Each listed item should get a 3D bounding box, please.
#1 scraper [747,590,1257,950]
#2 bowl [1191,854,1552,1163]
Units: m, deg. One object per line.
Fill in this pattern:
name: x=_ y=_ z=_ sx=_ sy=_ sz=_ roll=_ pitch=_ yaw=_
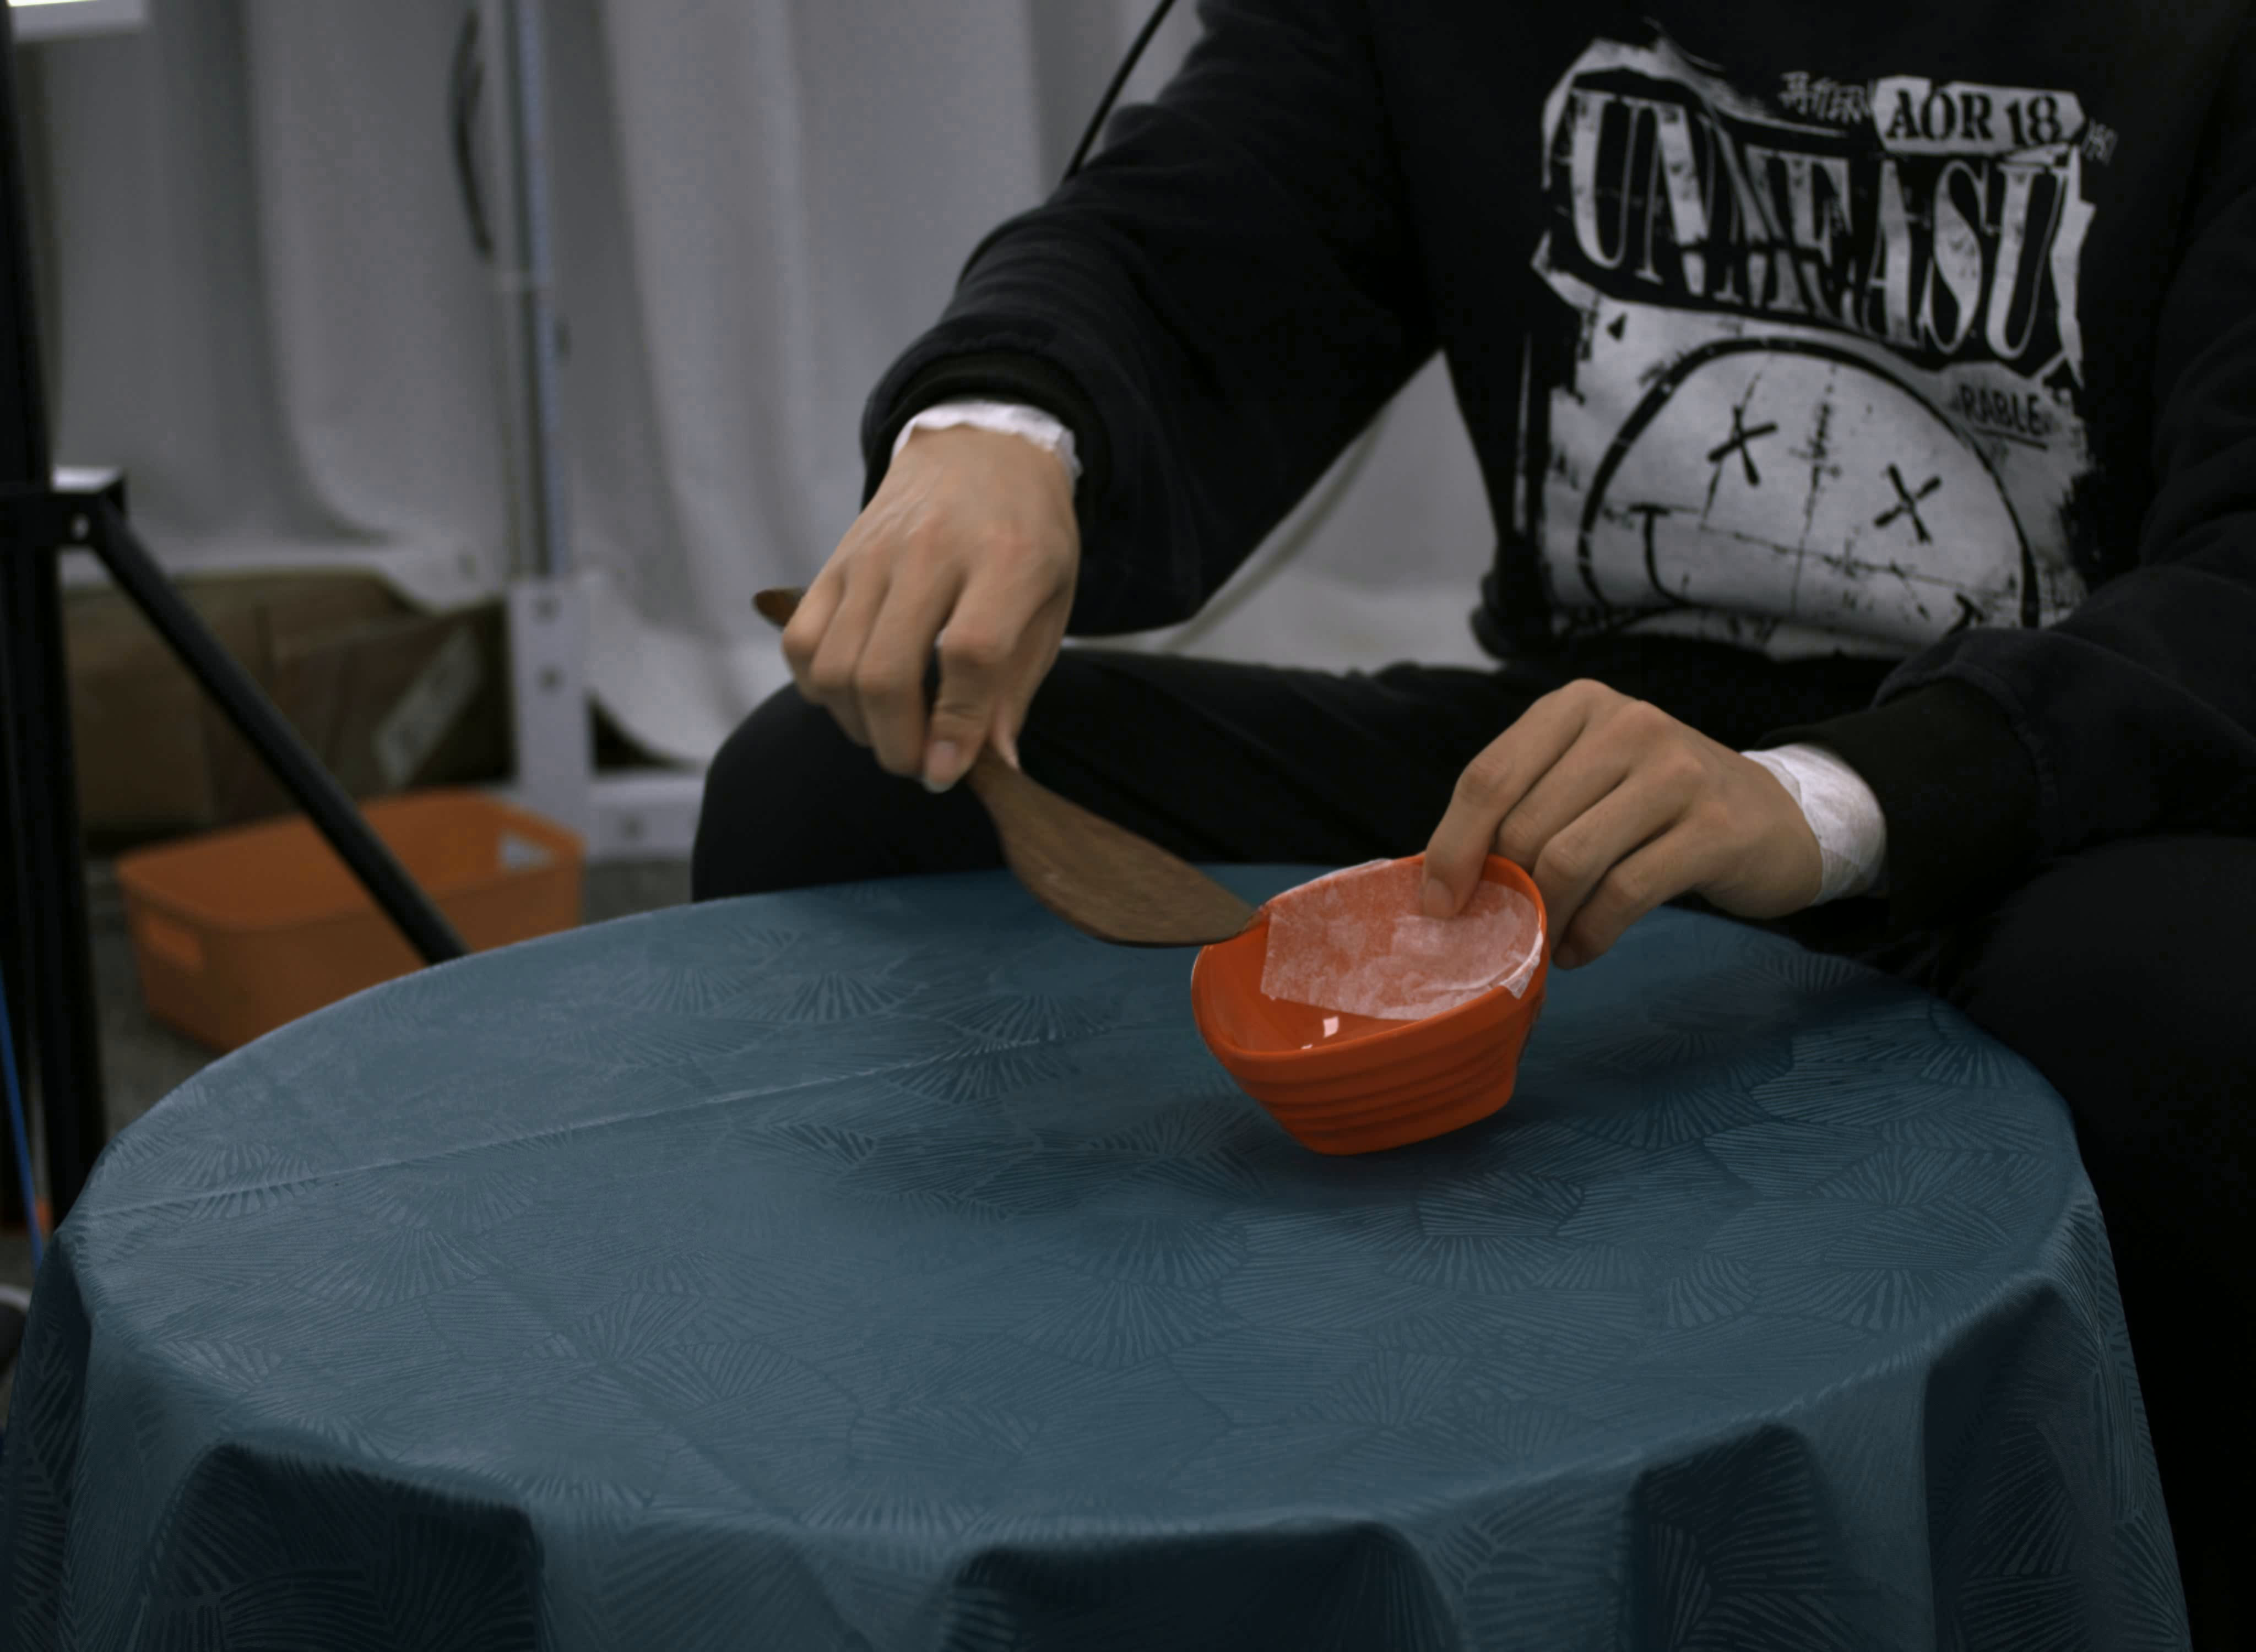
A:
scraper: x=-0.048 y=-0.017 z=1.619 sx=0.074 sy=0.011 sz=0.216 roll=-2 pitch=32 yaw=-45
bowl: x=0.079 y=0.059 z=1.593 sx=0.119 sy=0.051 sz=0.120 roll=-17 pitch=25 yaw=6
